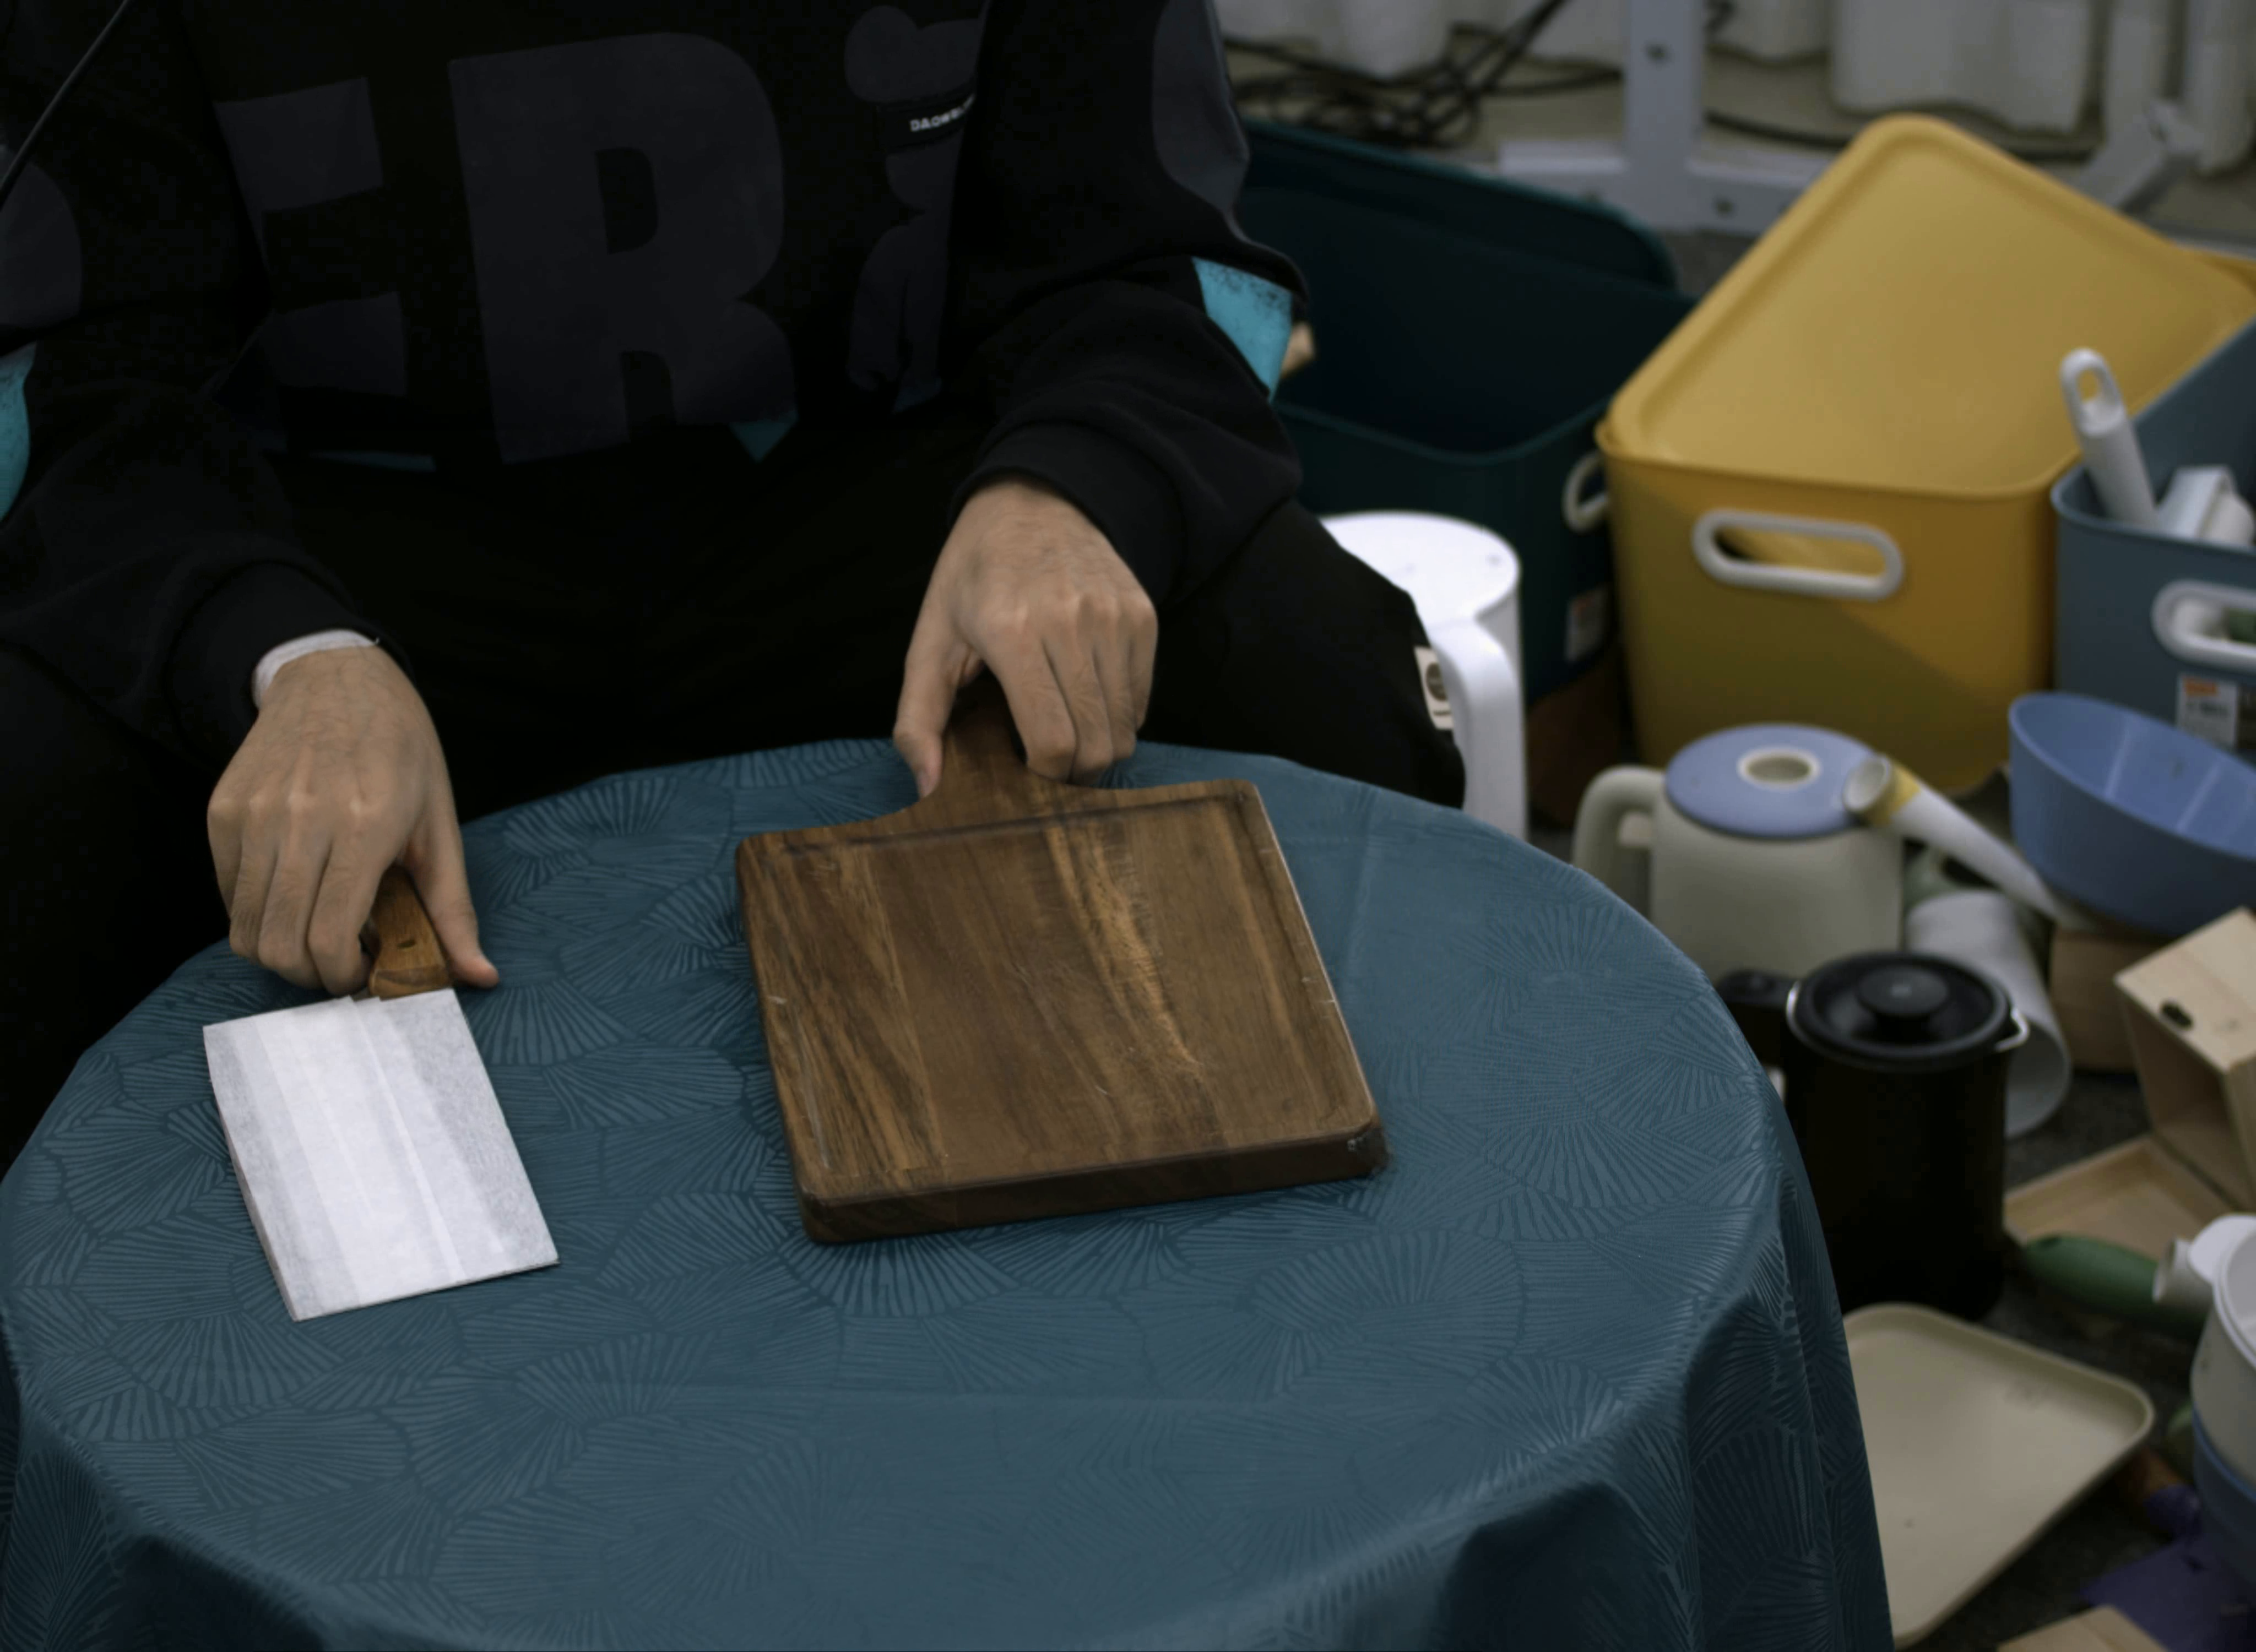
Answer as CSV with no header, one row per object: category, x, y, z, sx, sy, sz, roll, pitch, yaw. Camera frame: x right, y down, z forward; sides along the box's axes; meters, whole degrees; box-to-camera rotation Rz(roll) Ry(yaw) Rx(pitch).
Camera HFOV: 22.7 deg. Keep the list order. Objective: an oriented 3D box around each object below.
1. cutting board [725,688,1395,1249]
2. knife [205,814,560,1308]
cutting board,-0.037,0.038,1.999,0.200,0.023,0.356,-7,29,-7
knife,-0.271,0.081,1.952,0.093,0.021,0.309,-12,31,-13
